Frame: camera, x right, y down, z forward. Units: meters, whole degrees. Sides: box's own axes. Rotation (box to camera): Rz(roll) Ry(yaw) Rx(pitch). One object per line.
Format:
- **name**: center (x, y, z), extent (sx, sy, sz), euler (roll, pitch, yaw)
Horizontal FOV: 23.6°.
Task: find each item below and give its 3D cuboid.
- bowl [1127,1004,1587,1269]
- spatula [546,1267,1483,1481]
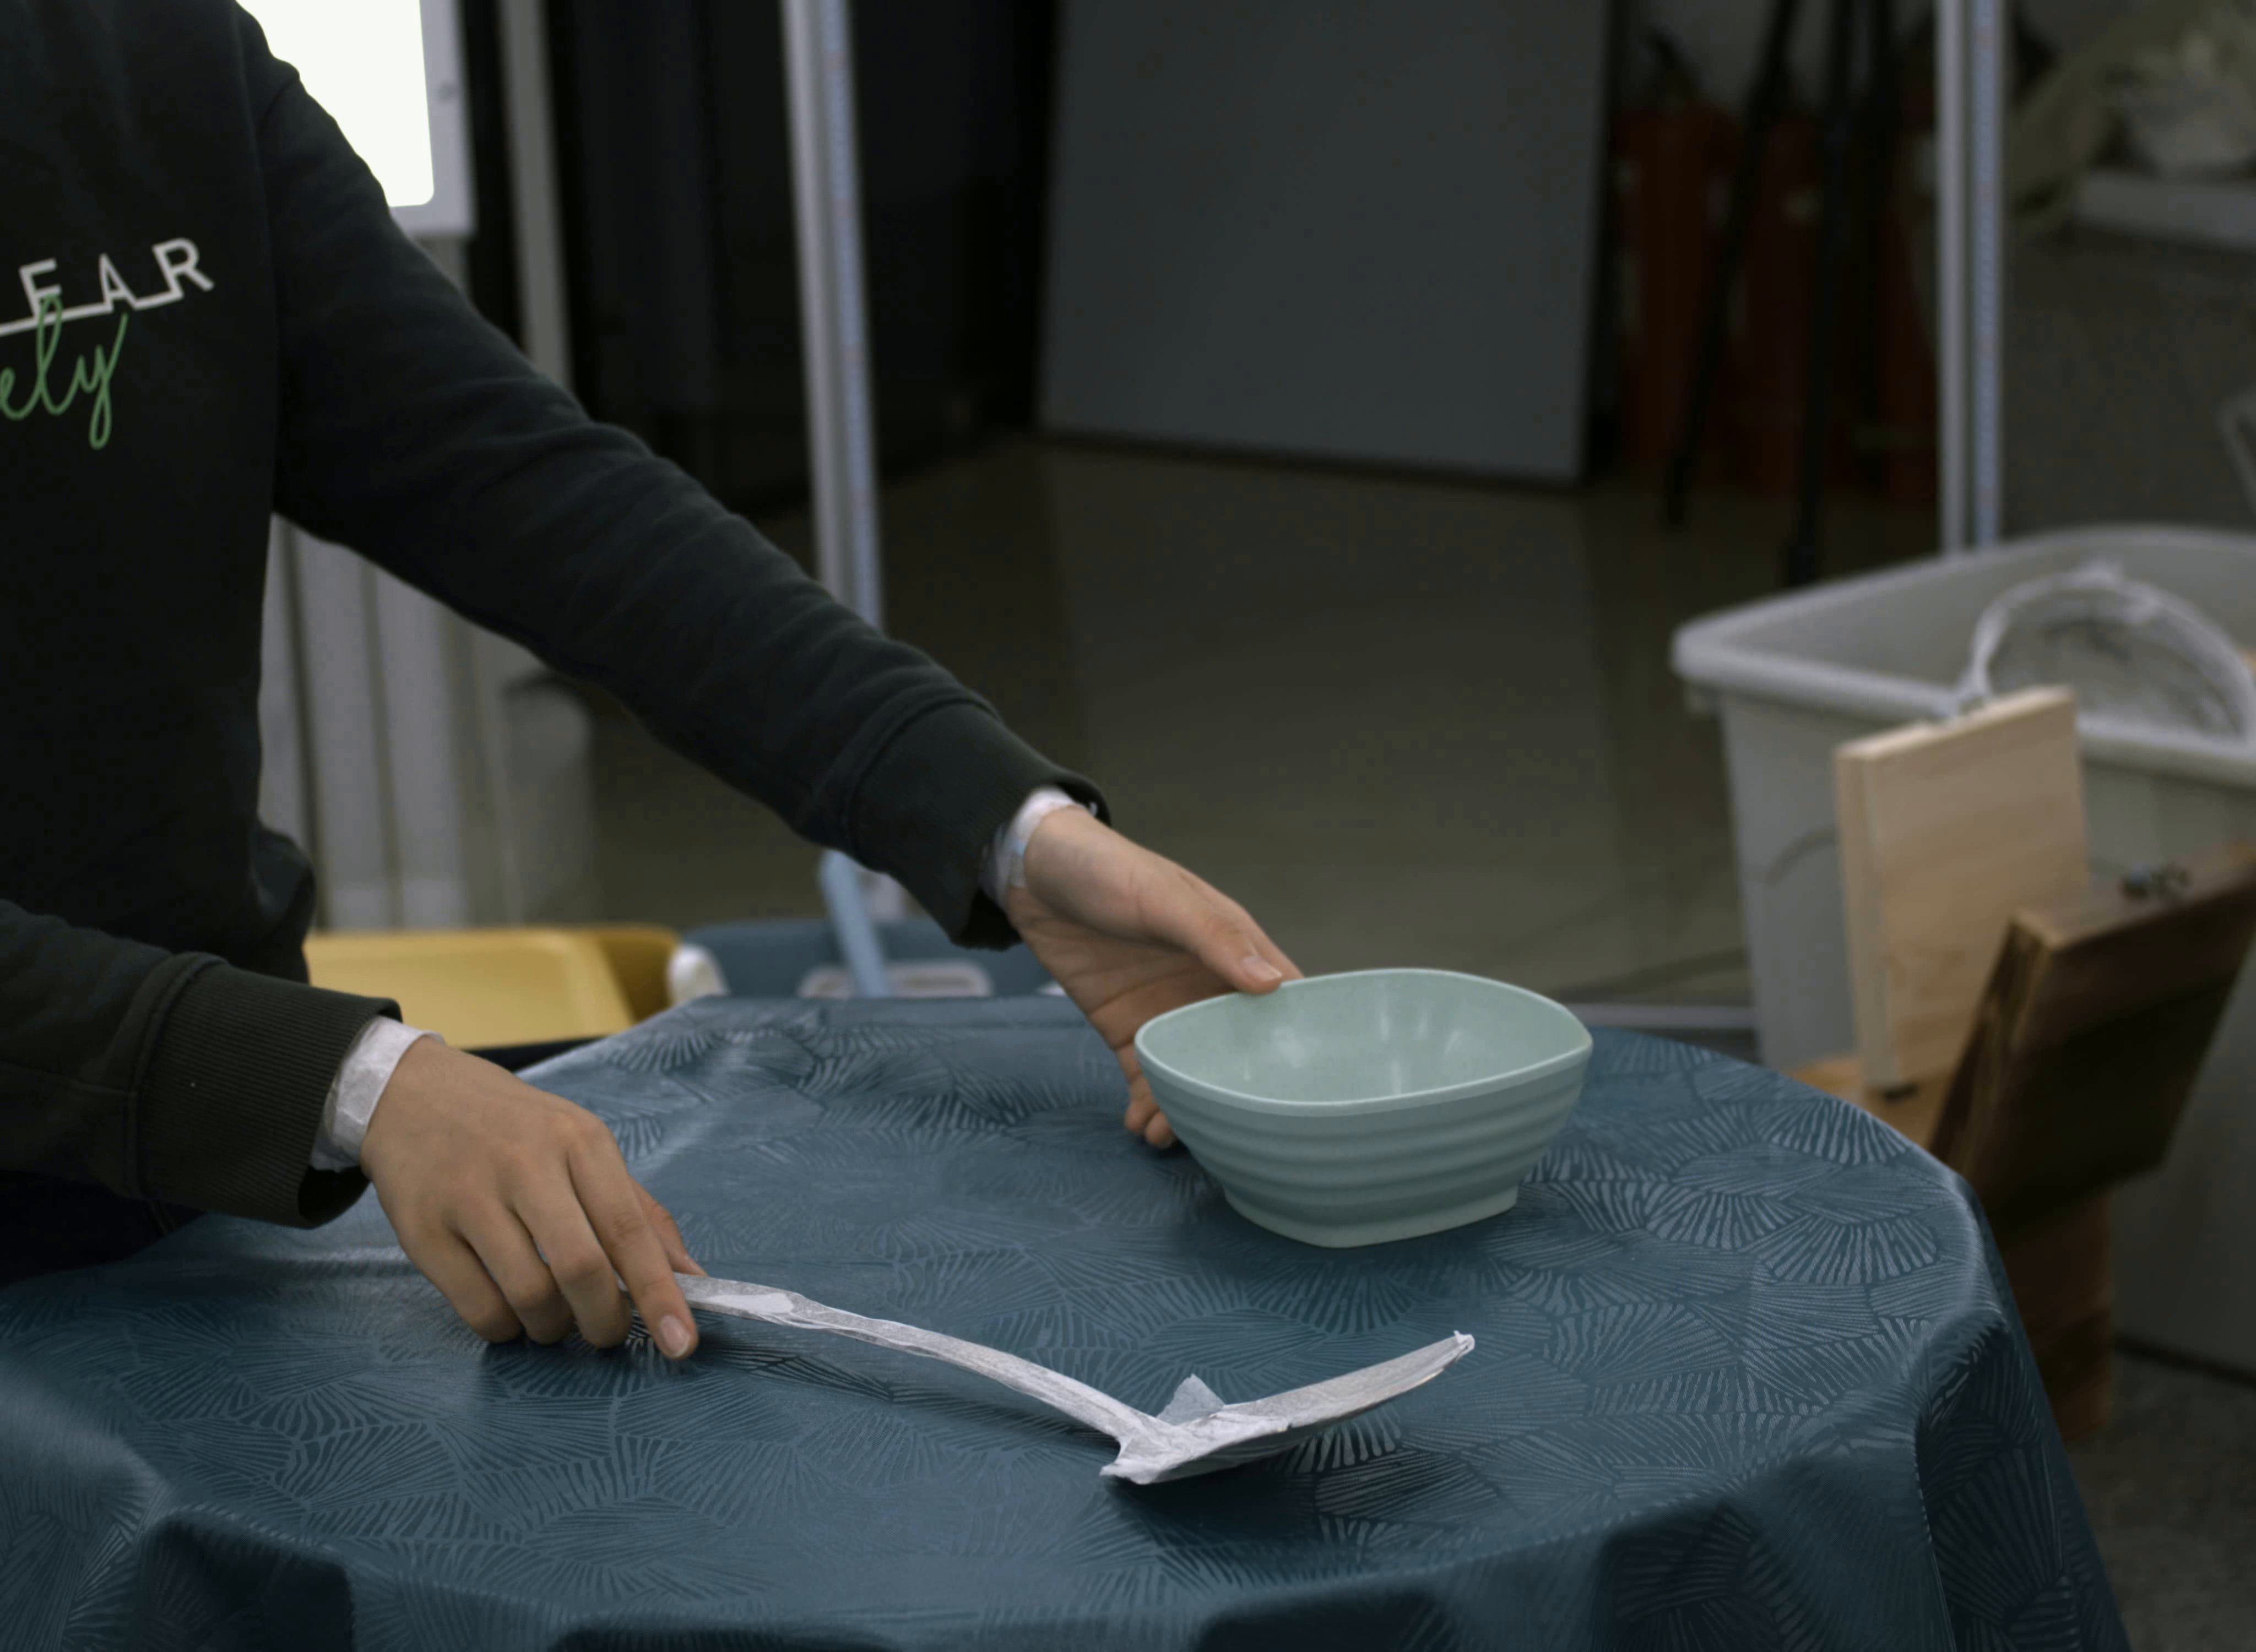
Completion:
- **bowl**: center (0.076, 0.102, 1.735), extent (0.149, 0.059, 0.151), euler (-6, 10, 0)
- **spatula**: center (-0.055, 0.150, 1.592), extent (0.368, 0.045, 0.097), euler (9, 21, 41)
